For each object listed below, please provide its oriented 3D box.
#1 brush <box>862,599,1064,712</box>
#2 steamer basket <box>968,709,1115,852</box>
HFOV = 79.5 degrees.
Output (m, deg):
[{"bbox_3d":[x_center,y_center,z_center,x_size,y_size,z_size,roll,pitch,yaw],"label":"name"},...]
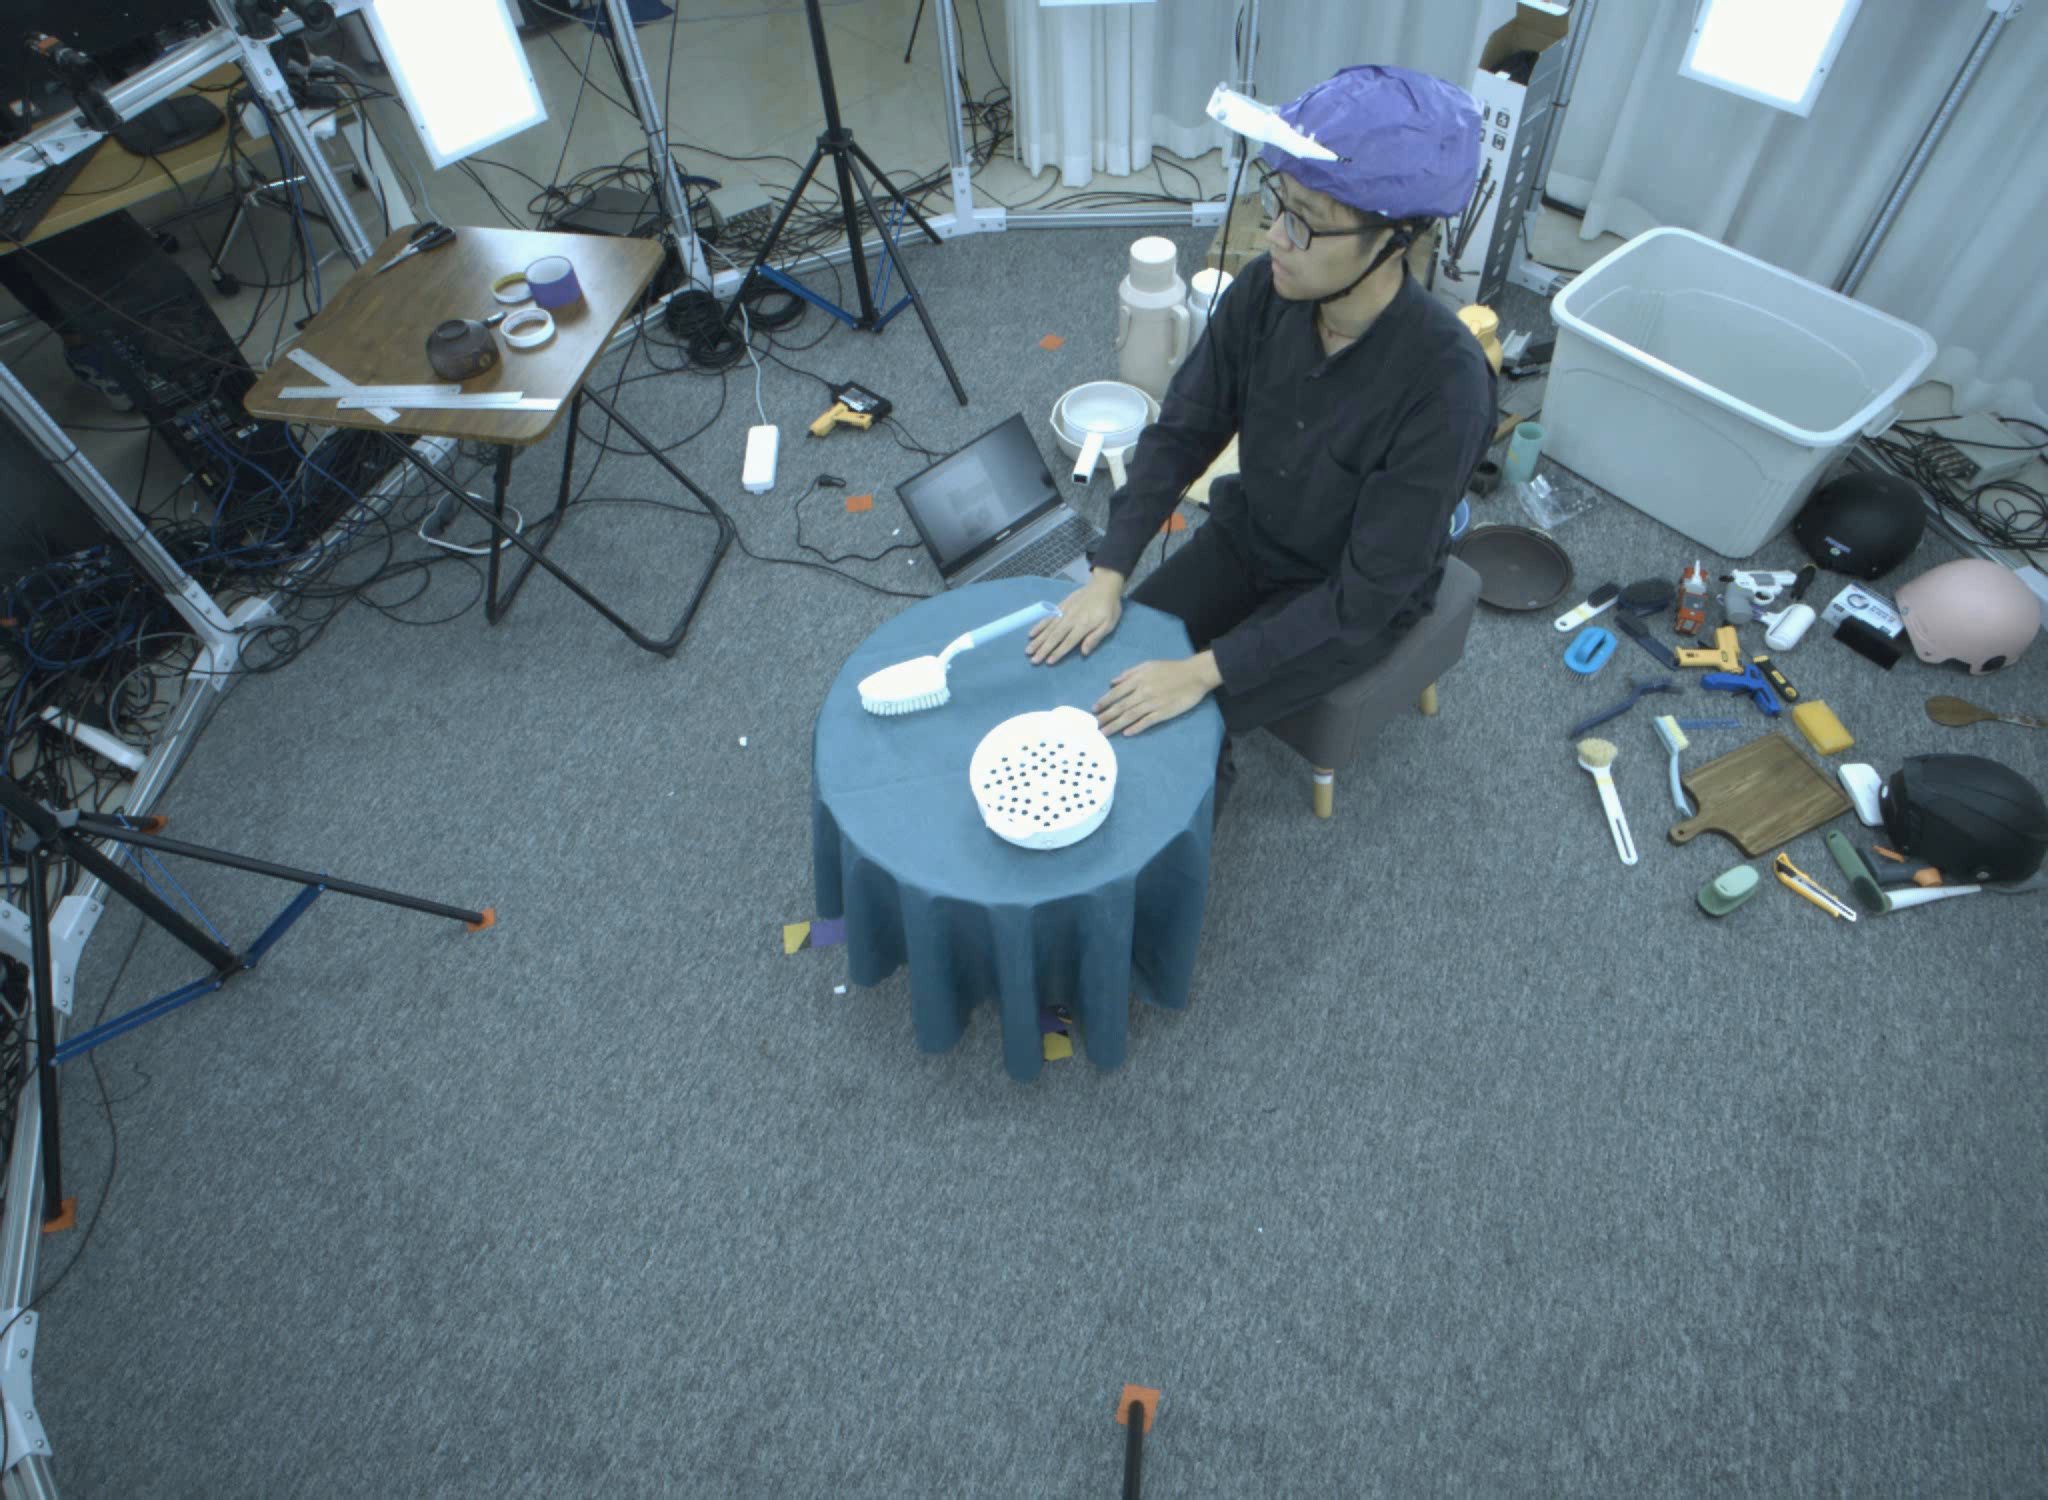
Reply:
[{"bbox_3d":[-0.085,-0.131,1.832,0.325,0.084,0.083,-23,93,0],"label":"brush"},{"bbox_3d":[0.025,0.047,1.713,0.199,0.070,0.231,23,58,16],"label":"steamer basket"}]
